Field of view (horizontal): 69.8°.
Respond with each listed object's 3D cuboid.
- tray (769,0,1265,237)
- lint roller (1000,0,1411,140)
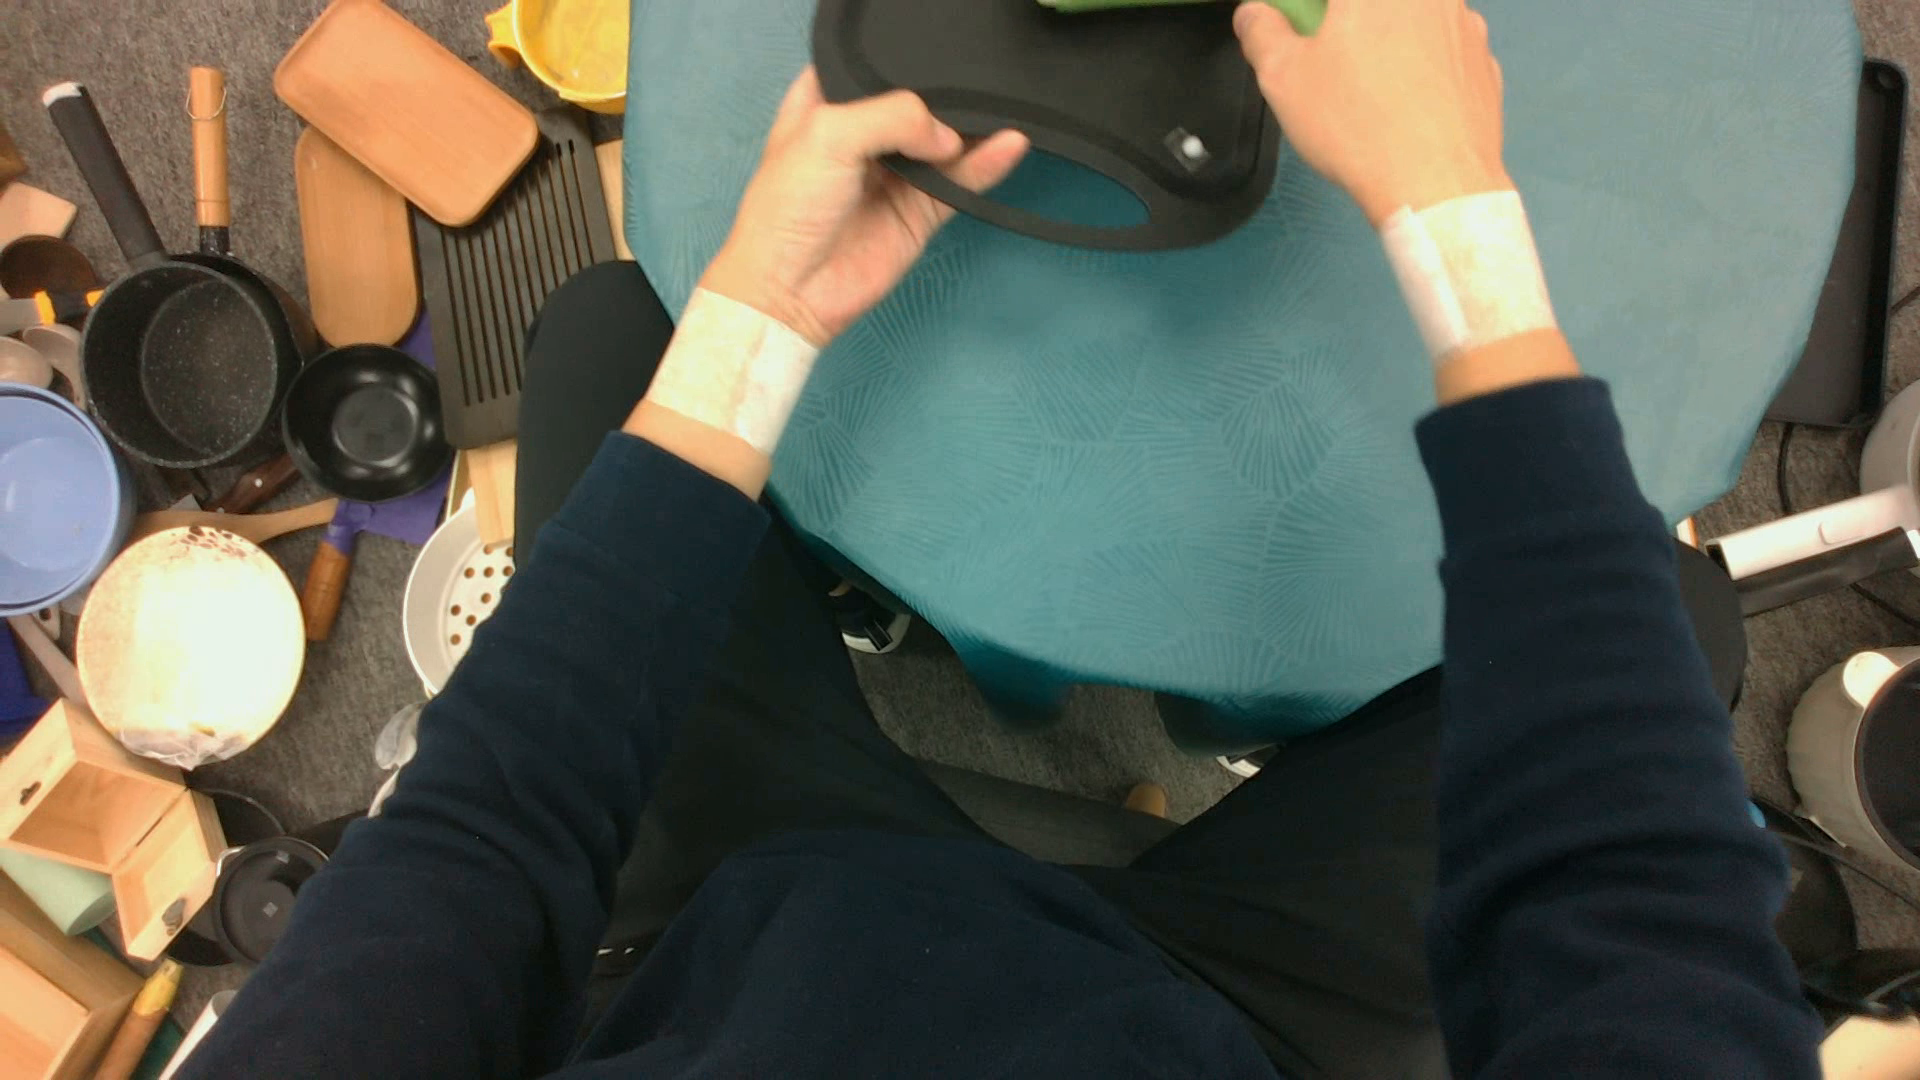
[{"bbox_3d":[0.041,-0.278,0.618,0.211,0.010,0.326,14,68,-8],"label":"tray"},{"bbox_3d":[0.129,-0.237,0.561,0.199,0.082,0.184,-16,46,-20],"label":"lint roller"}]
